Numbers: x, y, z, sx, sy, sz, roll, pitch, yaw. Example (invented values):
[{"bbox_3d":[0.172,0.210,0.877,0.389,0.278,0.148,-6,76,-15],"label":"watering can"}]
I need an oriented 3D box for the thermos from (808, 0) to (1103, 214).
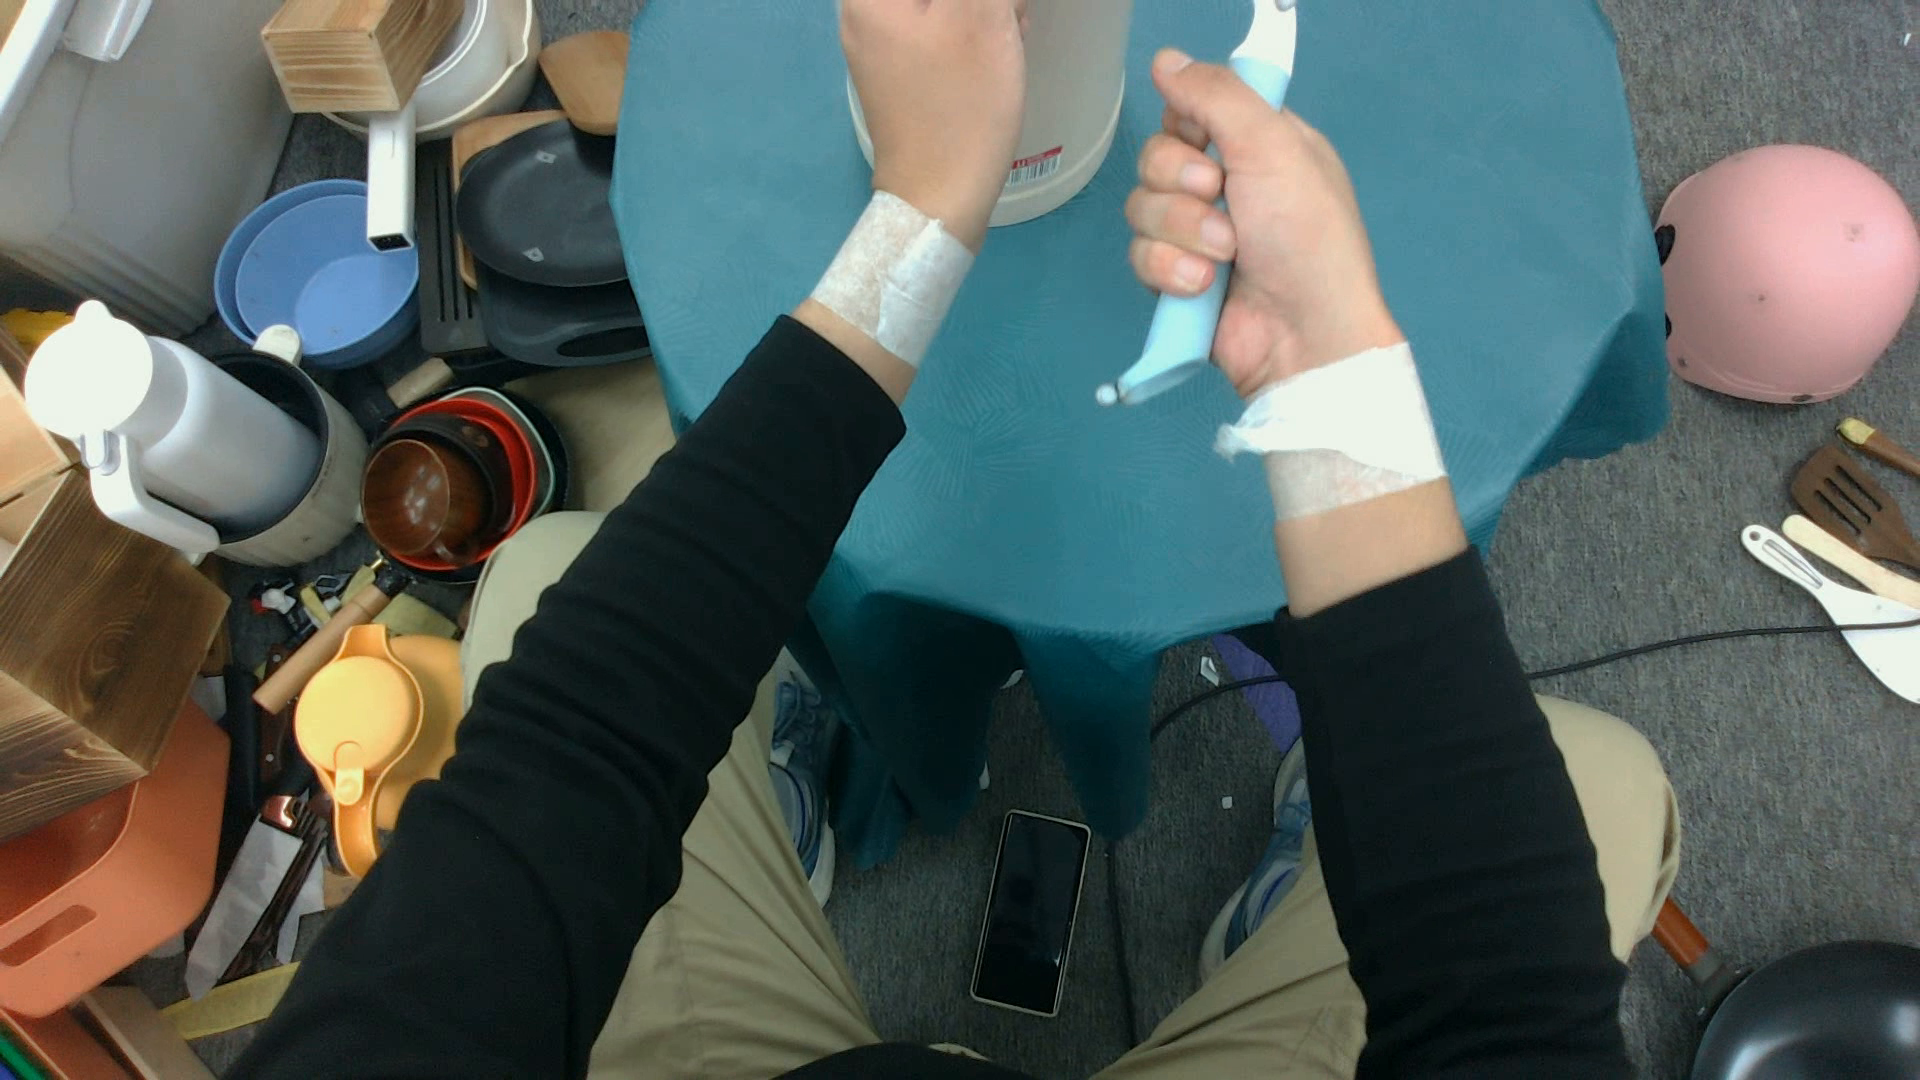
[{"bbox_3d":[-0.005,-0.299,0.625,0.175,0.405,0.207,3,75,0],"label":"thermos"}]

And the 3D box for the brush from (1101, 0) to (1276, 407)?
[{"bbox_3d":[0.076,-0.211,0.540,0.083,0.084,0.326,24,79,-37],"label":"brush"}]
